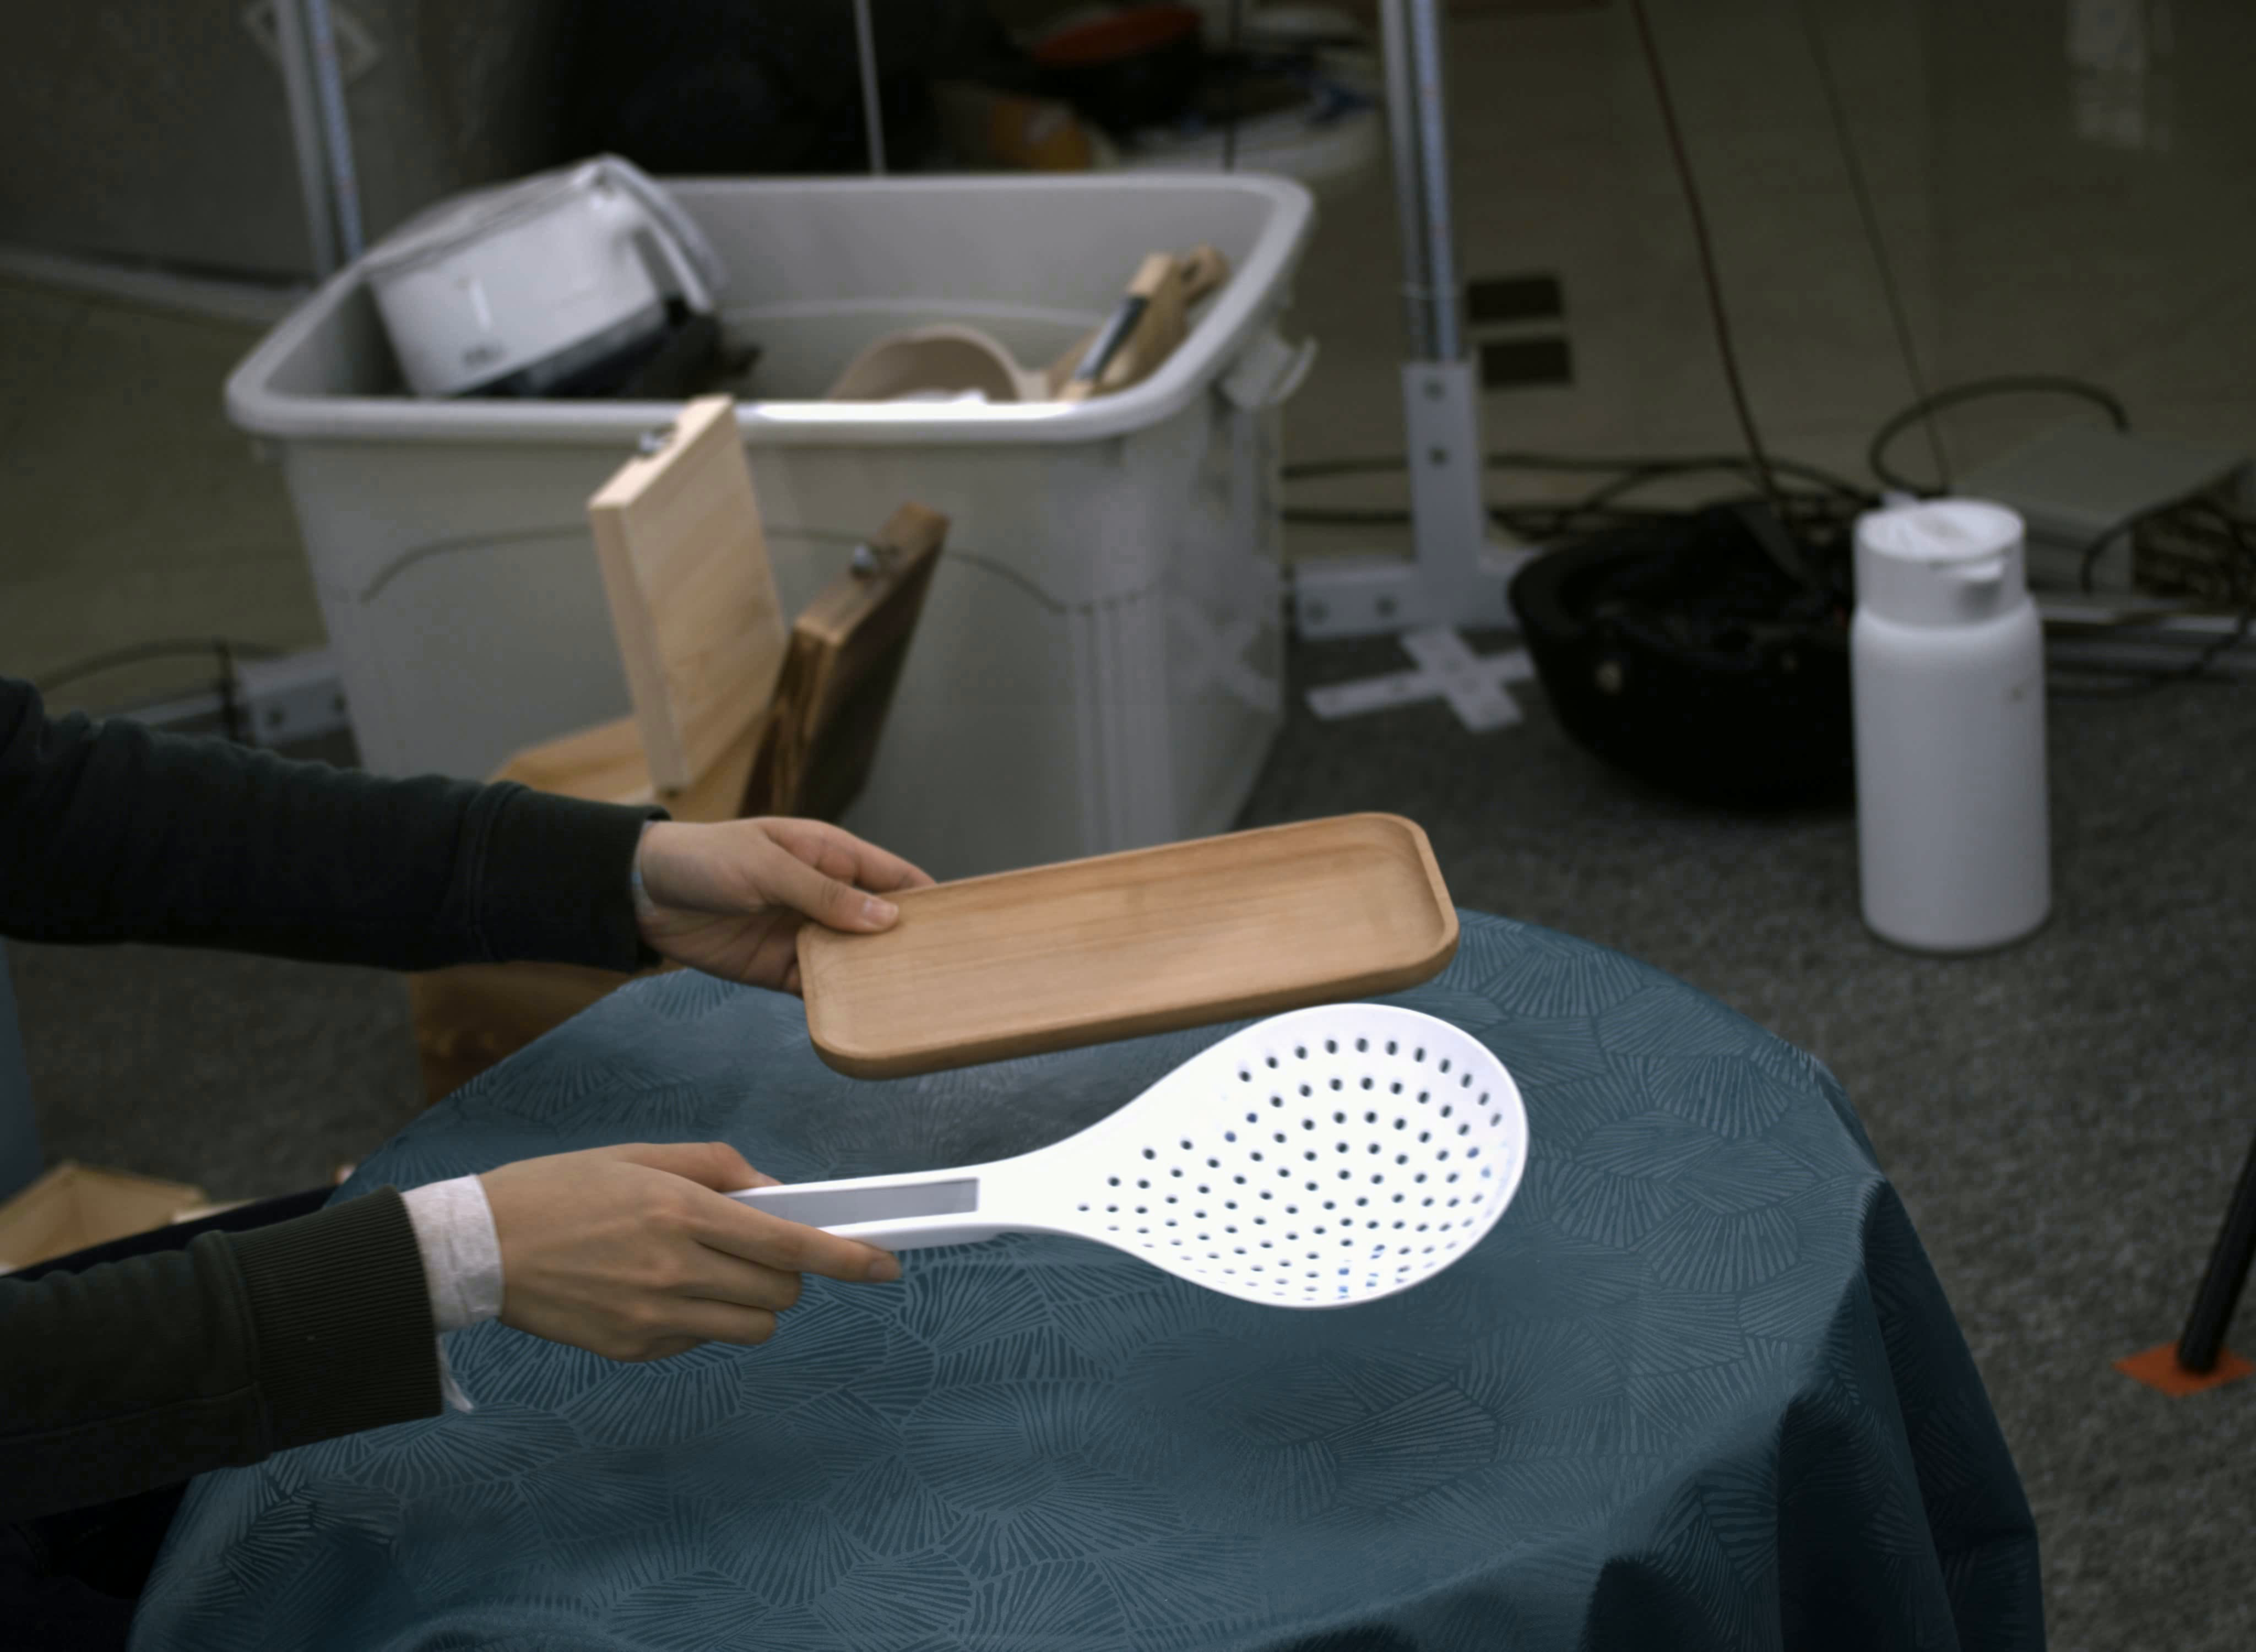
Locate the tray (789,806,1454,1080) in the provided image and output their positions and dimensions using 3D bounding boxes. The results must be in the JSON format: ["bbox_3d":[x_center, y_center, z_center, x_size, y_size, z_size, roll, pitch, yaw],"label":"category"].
[{"bbox_3d":[-0.003,0.045,2.177,0.250,0.023,0.128,-10,27,-2],"label":"tray"}]

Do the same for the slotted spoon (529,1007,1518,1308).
[{"bbox_3d":[-0.038,0.129,1.976,0.349,0.046,0.133,-3,46,5],"label":"slotted spoon"}]
